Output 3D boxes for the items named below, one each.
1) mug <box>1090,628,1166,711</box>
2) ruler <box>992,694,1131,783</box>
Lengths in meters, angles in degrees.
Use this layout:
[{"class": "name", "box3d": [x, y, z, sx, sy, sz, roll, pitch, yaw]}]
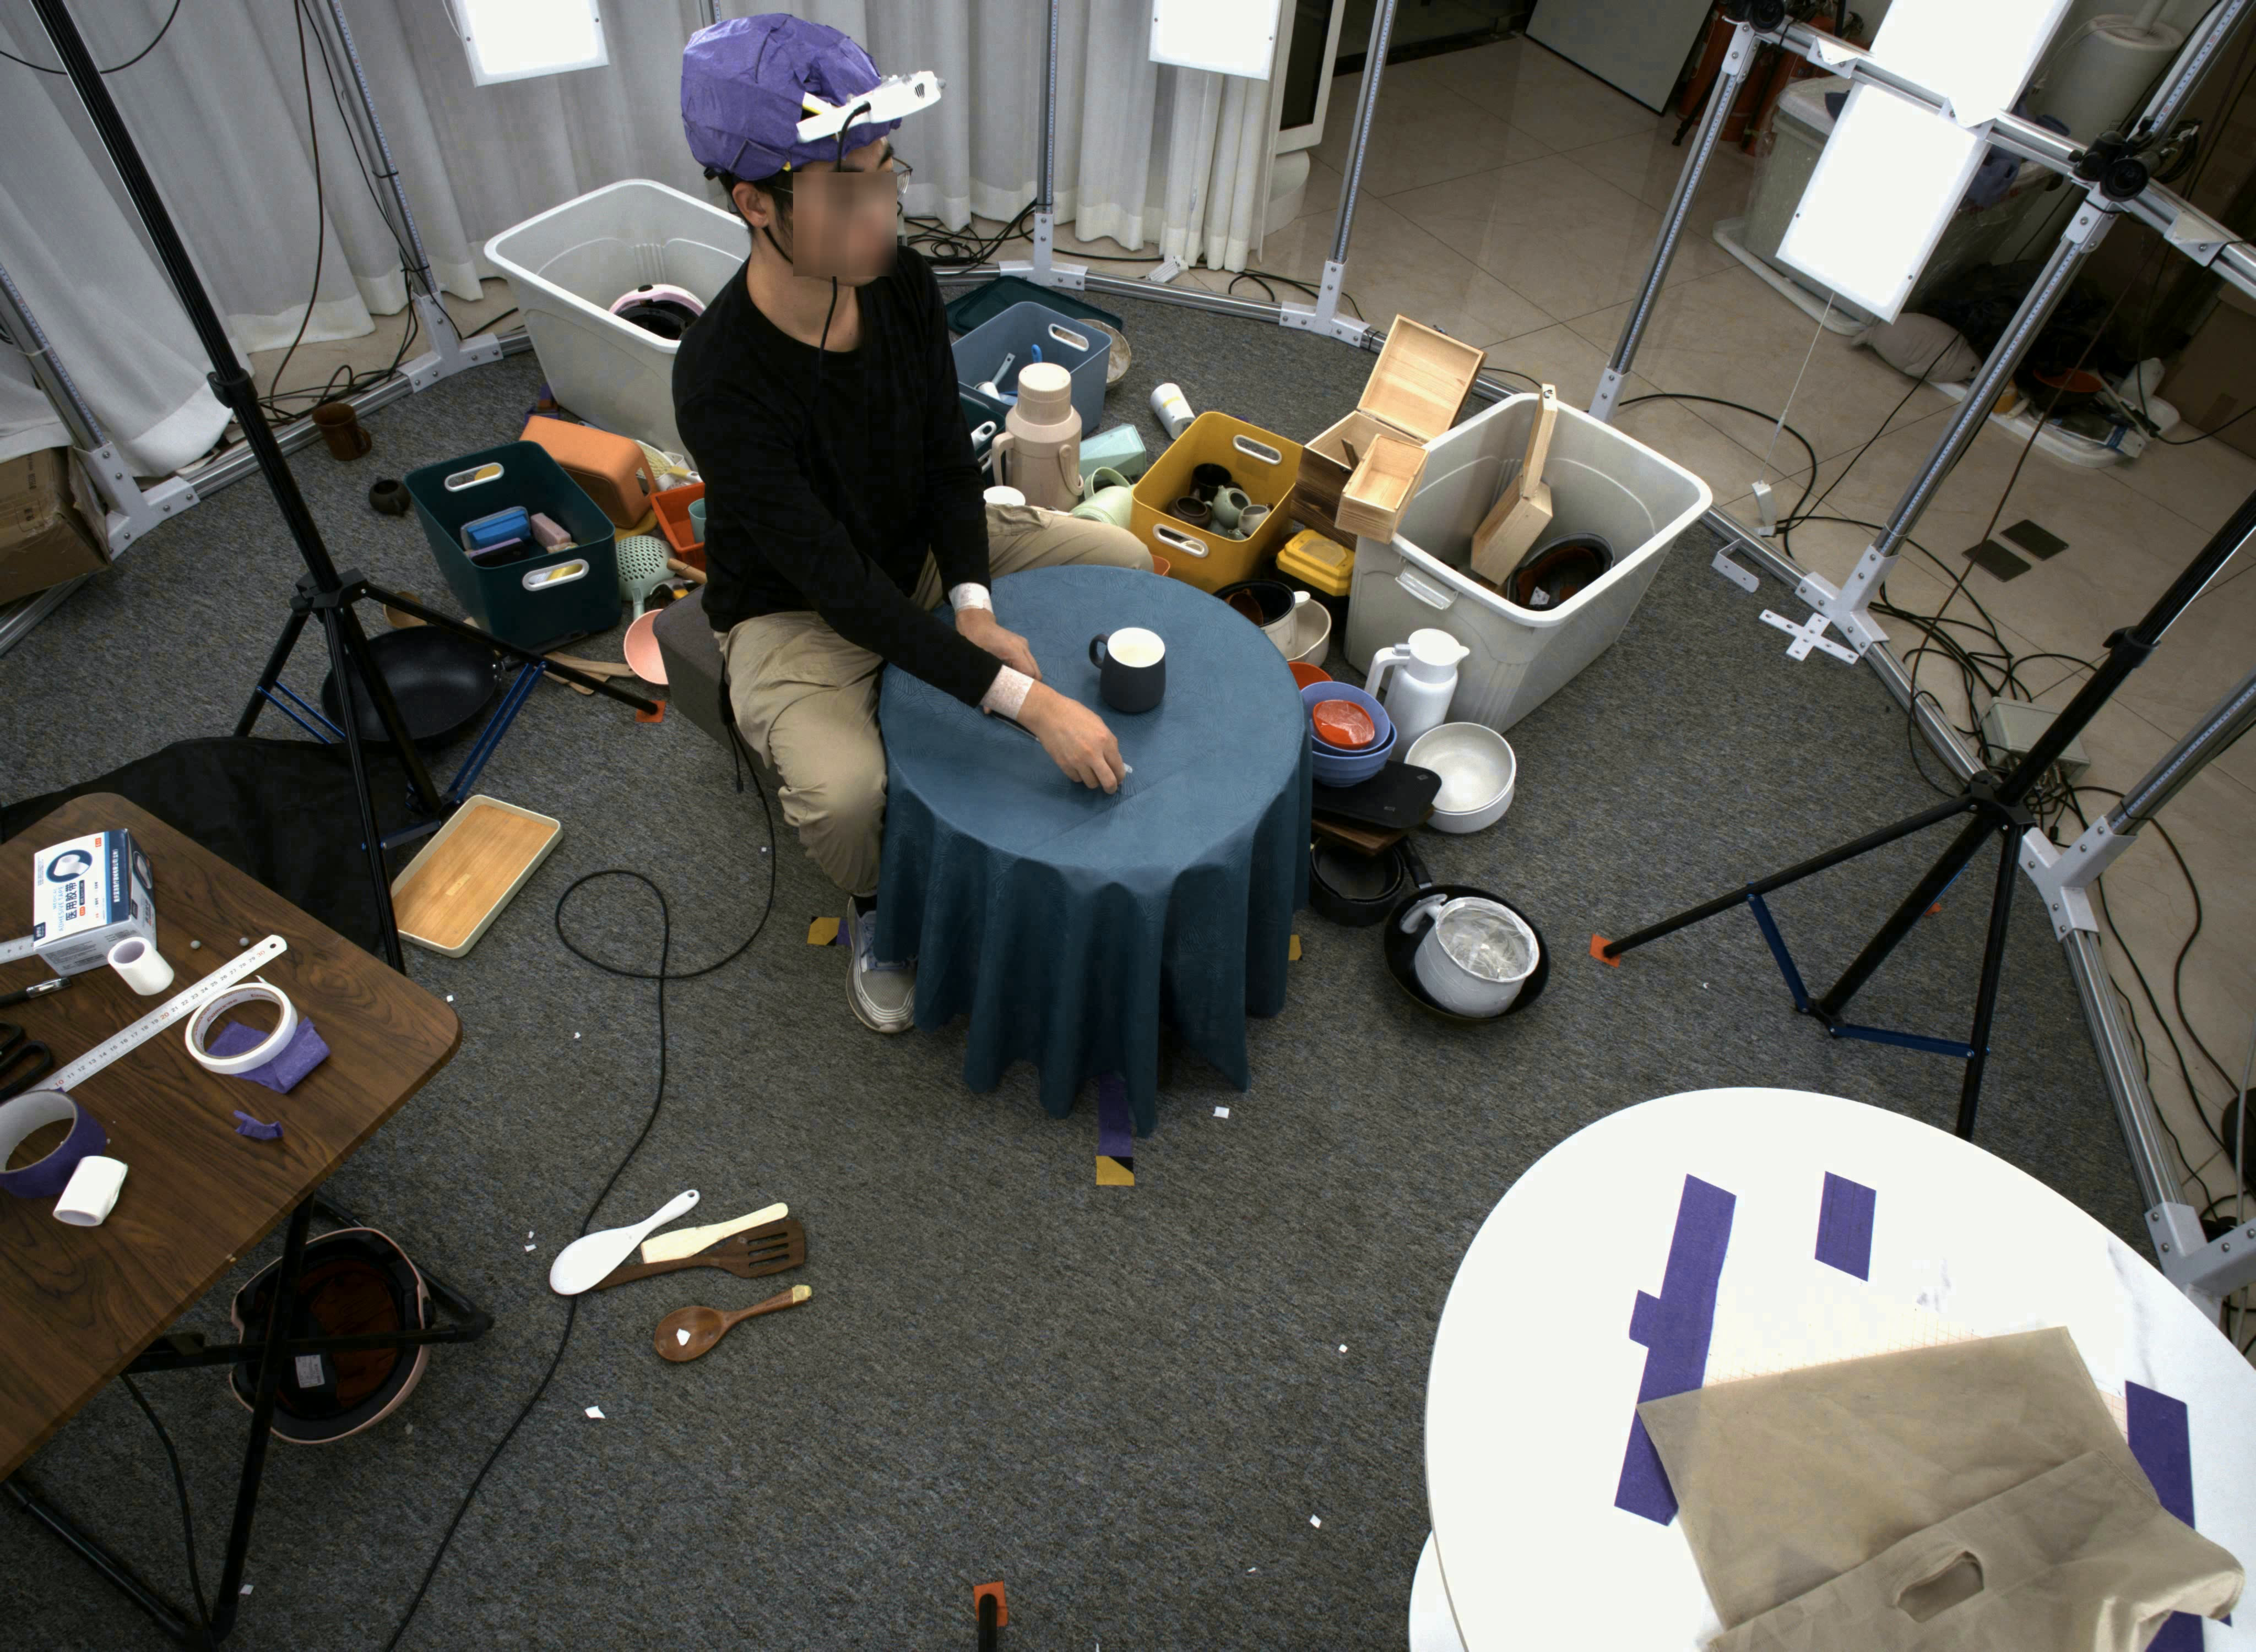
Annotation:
[{"class": "mug", "box3d": [-0.003, -0.228, 1.807, 0.125, 0.088, 0.094, 35, 54, 22]}, {"class": "ruler", "box3d": [-0.096, -0.124, 1.757, 0.220, 0.023, 0.039, 28, 56, 21]}]
